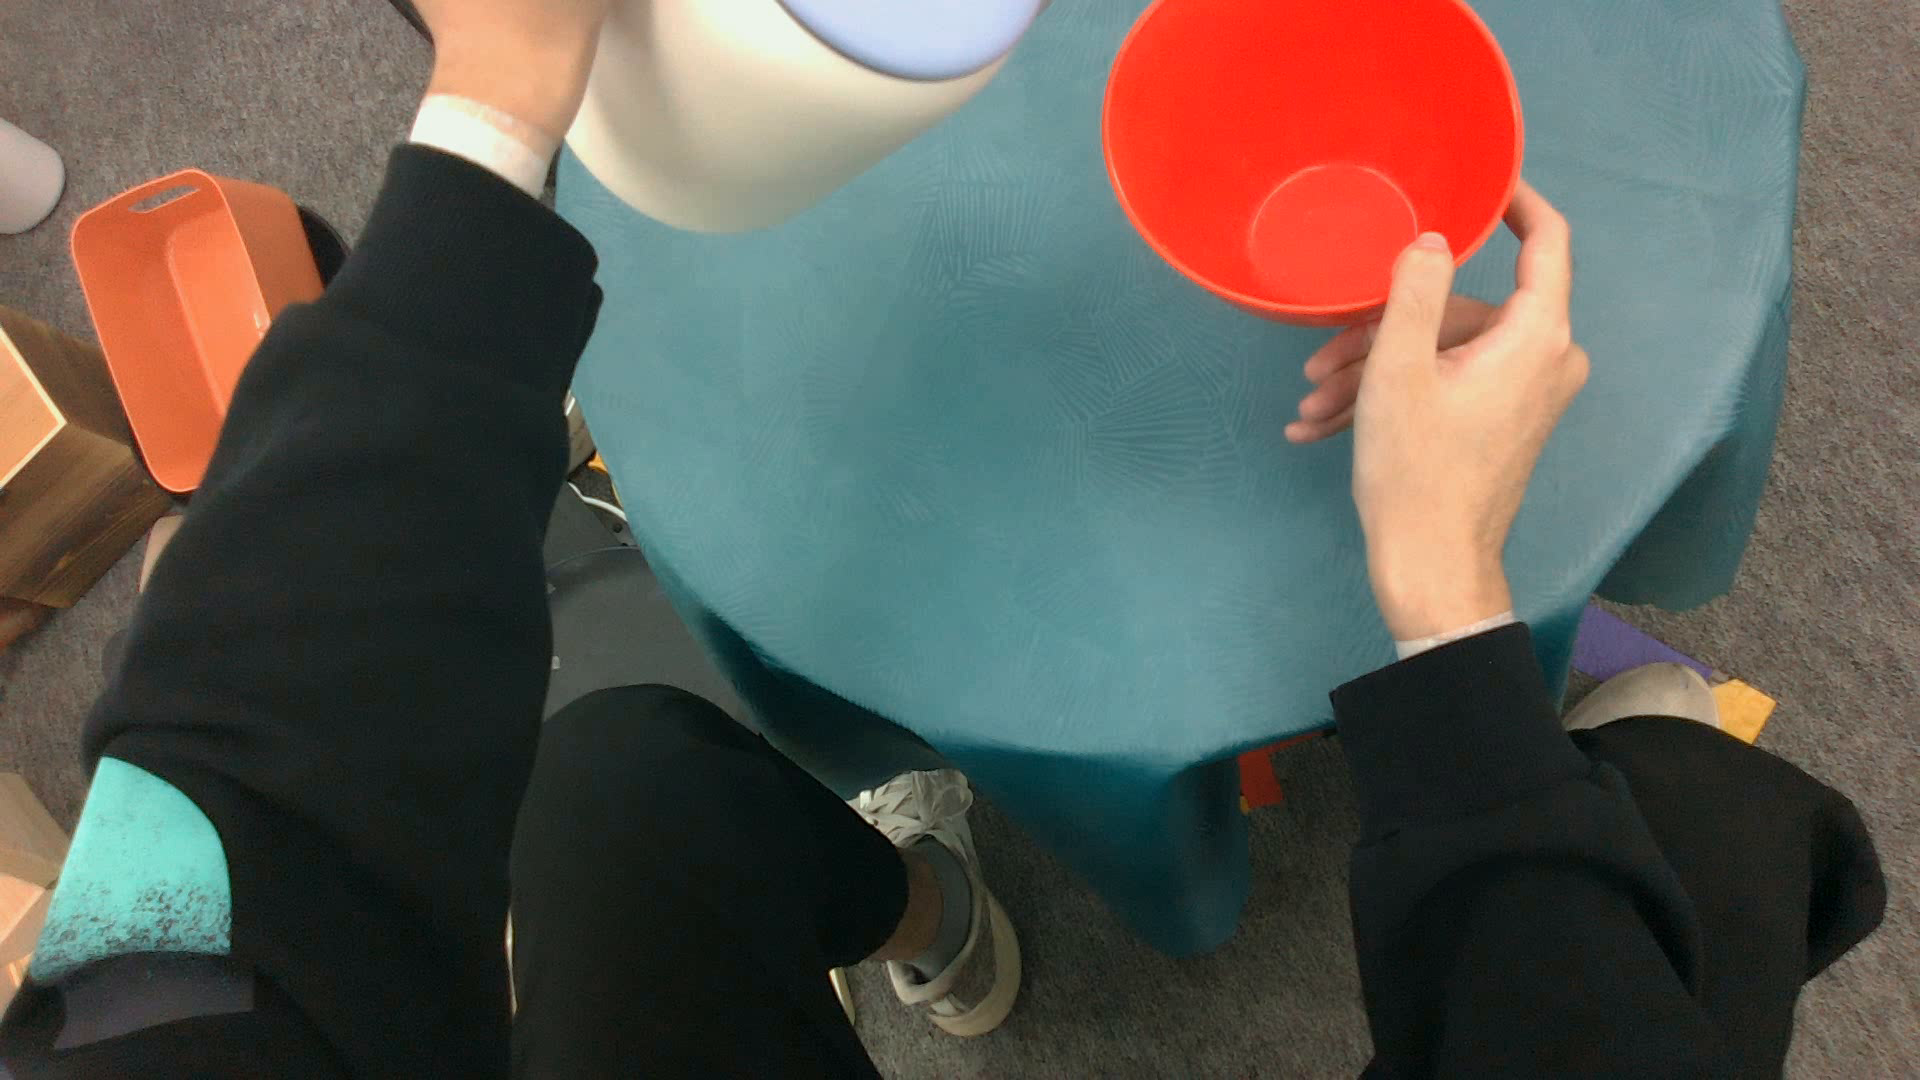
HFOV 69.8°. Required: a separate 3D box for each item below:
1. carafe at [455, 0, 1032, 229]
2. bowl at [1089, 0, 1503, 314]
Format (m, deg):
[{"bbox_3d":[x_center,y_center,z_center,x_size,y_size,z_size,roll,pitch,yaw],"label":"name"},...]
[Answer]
[{"bbox_3d":[-0.088,-0.199,0.481,0.191,0.182,0.132,7,80,-31],"label":"carafe"},{"bbox_3d":[0.131,-0.146,0.541,0.148,0.104,0.148,-4,73,12],"label":"bowl"}]
